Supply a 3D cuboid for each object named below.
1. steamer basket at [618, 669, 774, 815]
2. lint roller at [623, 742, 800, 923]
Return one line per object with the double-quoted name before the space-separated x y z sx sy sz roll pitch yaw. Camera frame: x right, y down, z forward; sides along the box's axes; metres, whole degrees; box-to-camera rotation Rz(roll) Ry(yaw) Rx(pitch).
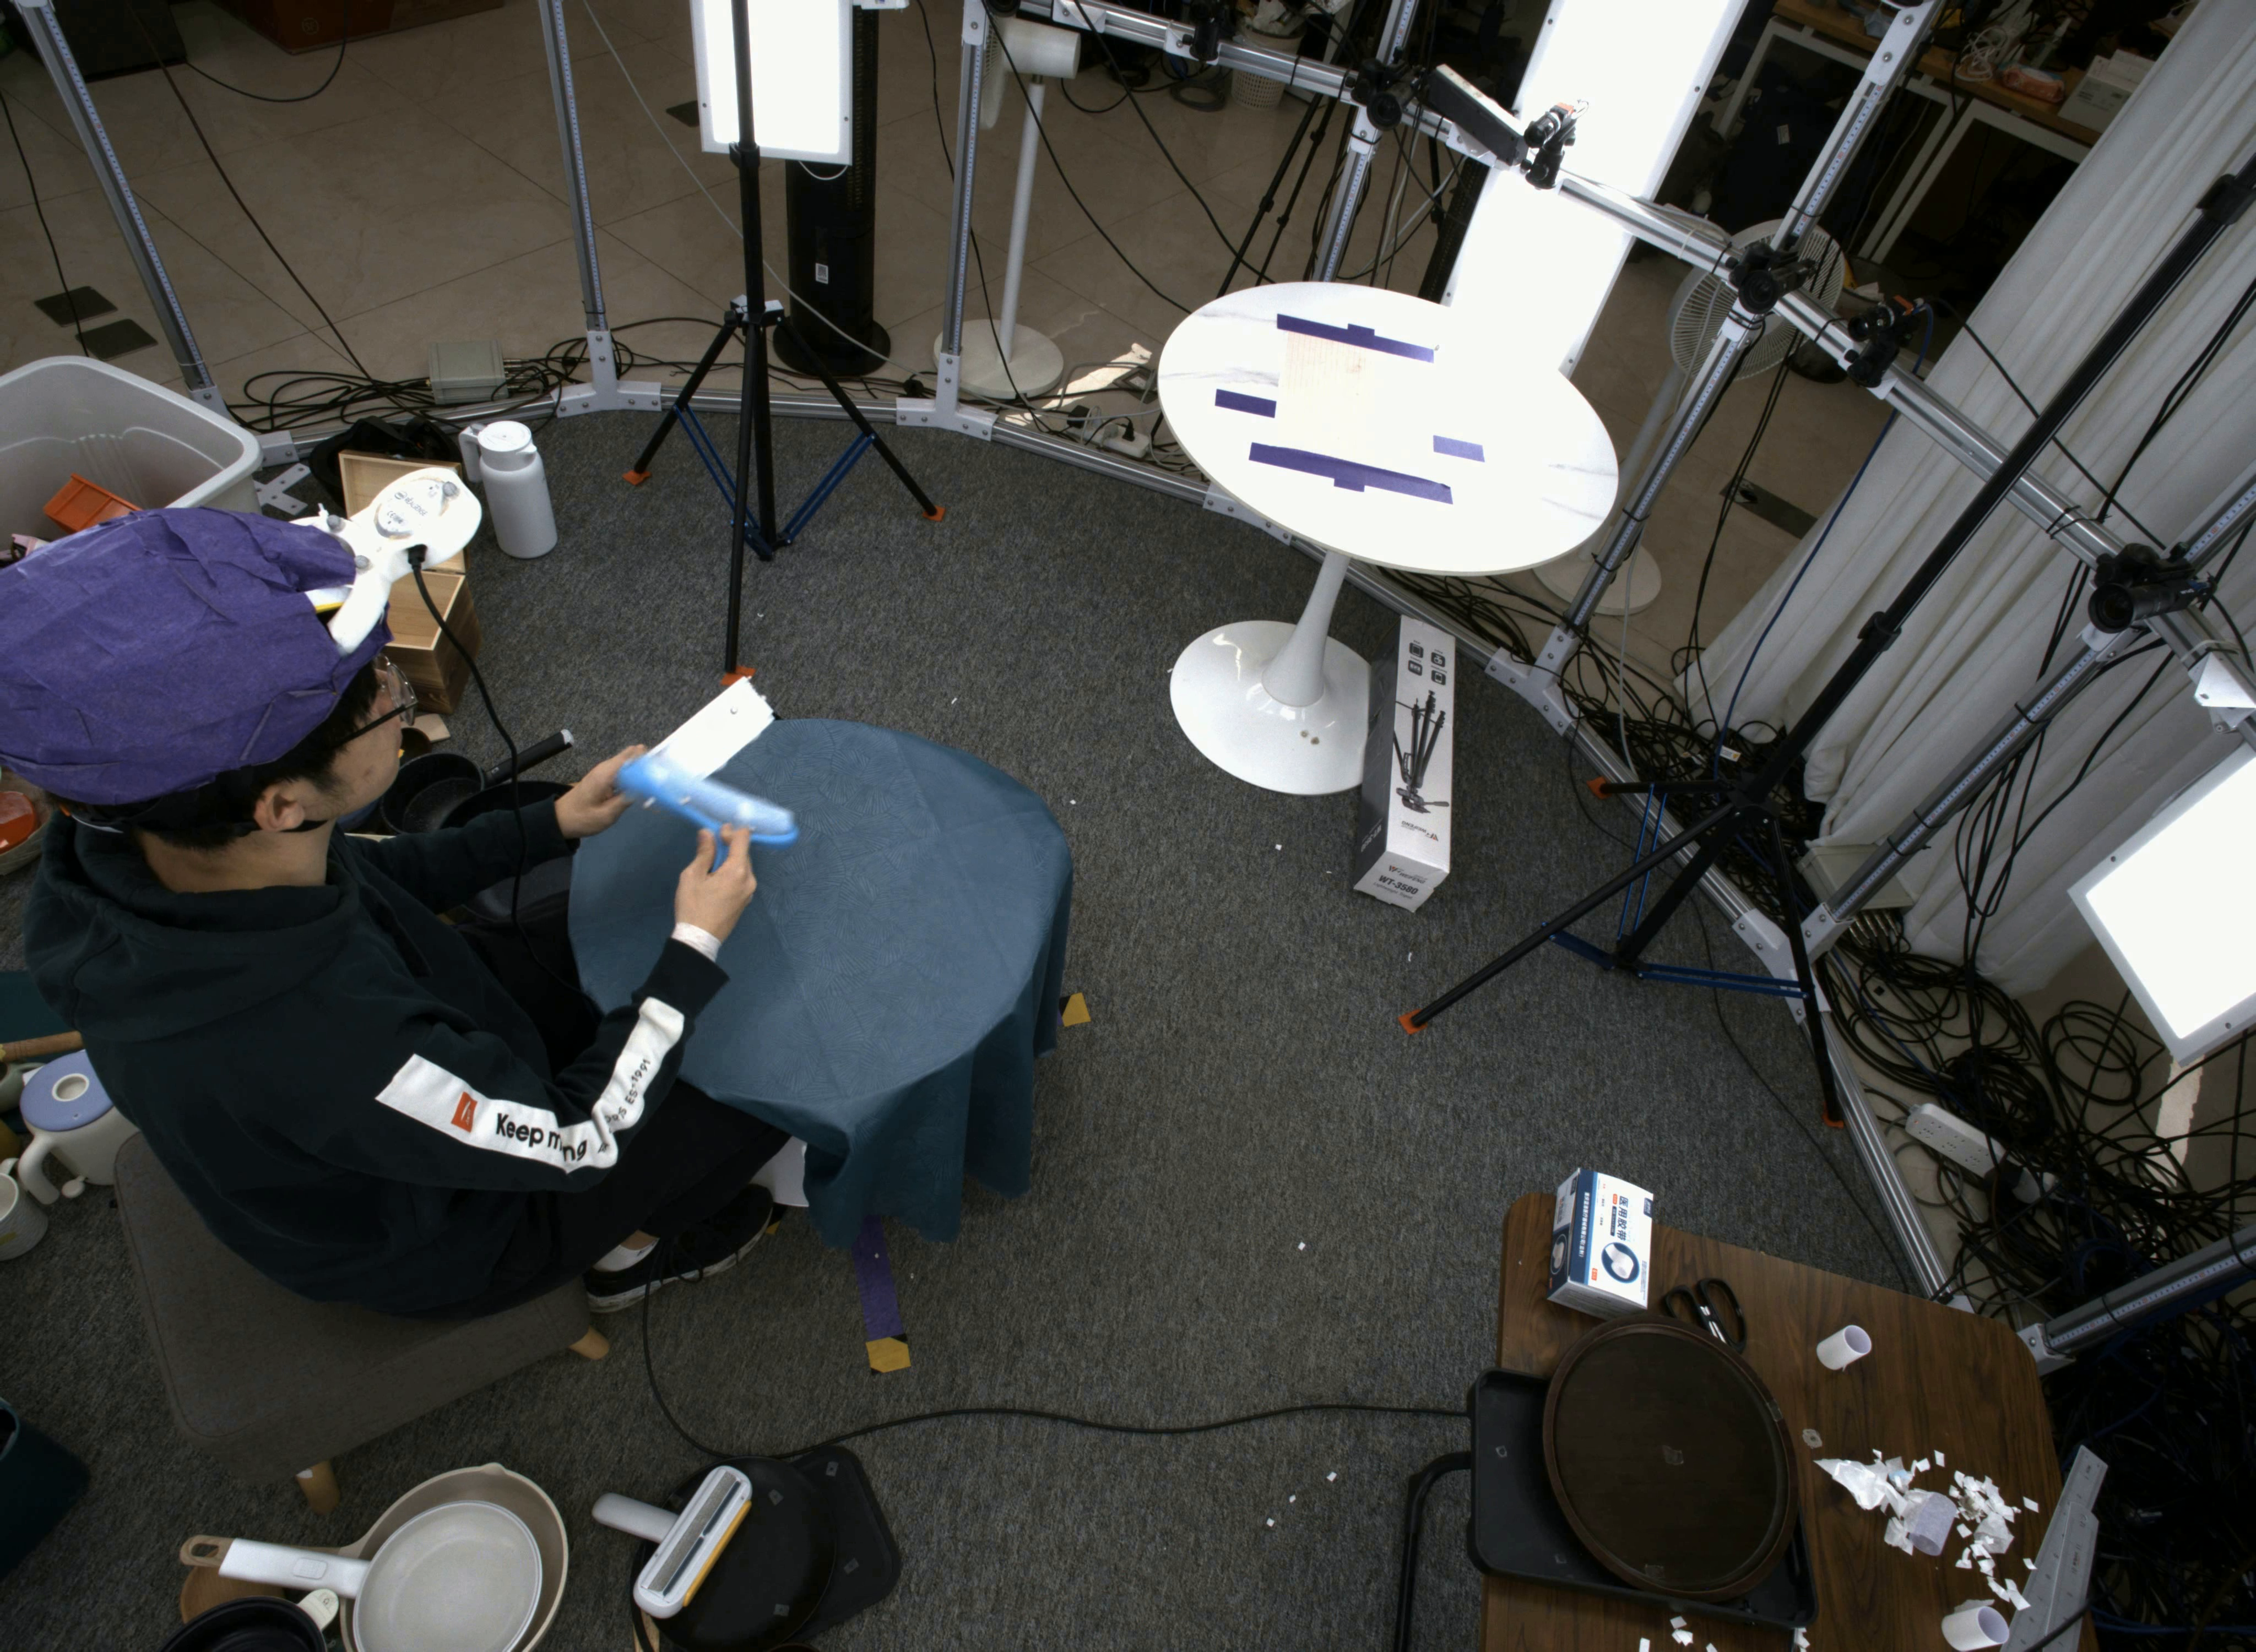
"steamer basket" -0.517 -0.100 1.557 0.071 0.198 0.229 50 46 -15
"lint roller" -0.464 0.014 1.445 0.236 0.067 0.177 25 47 -50
